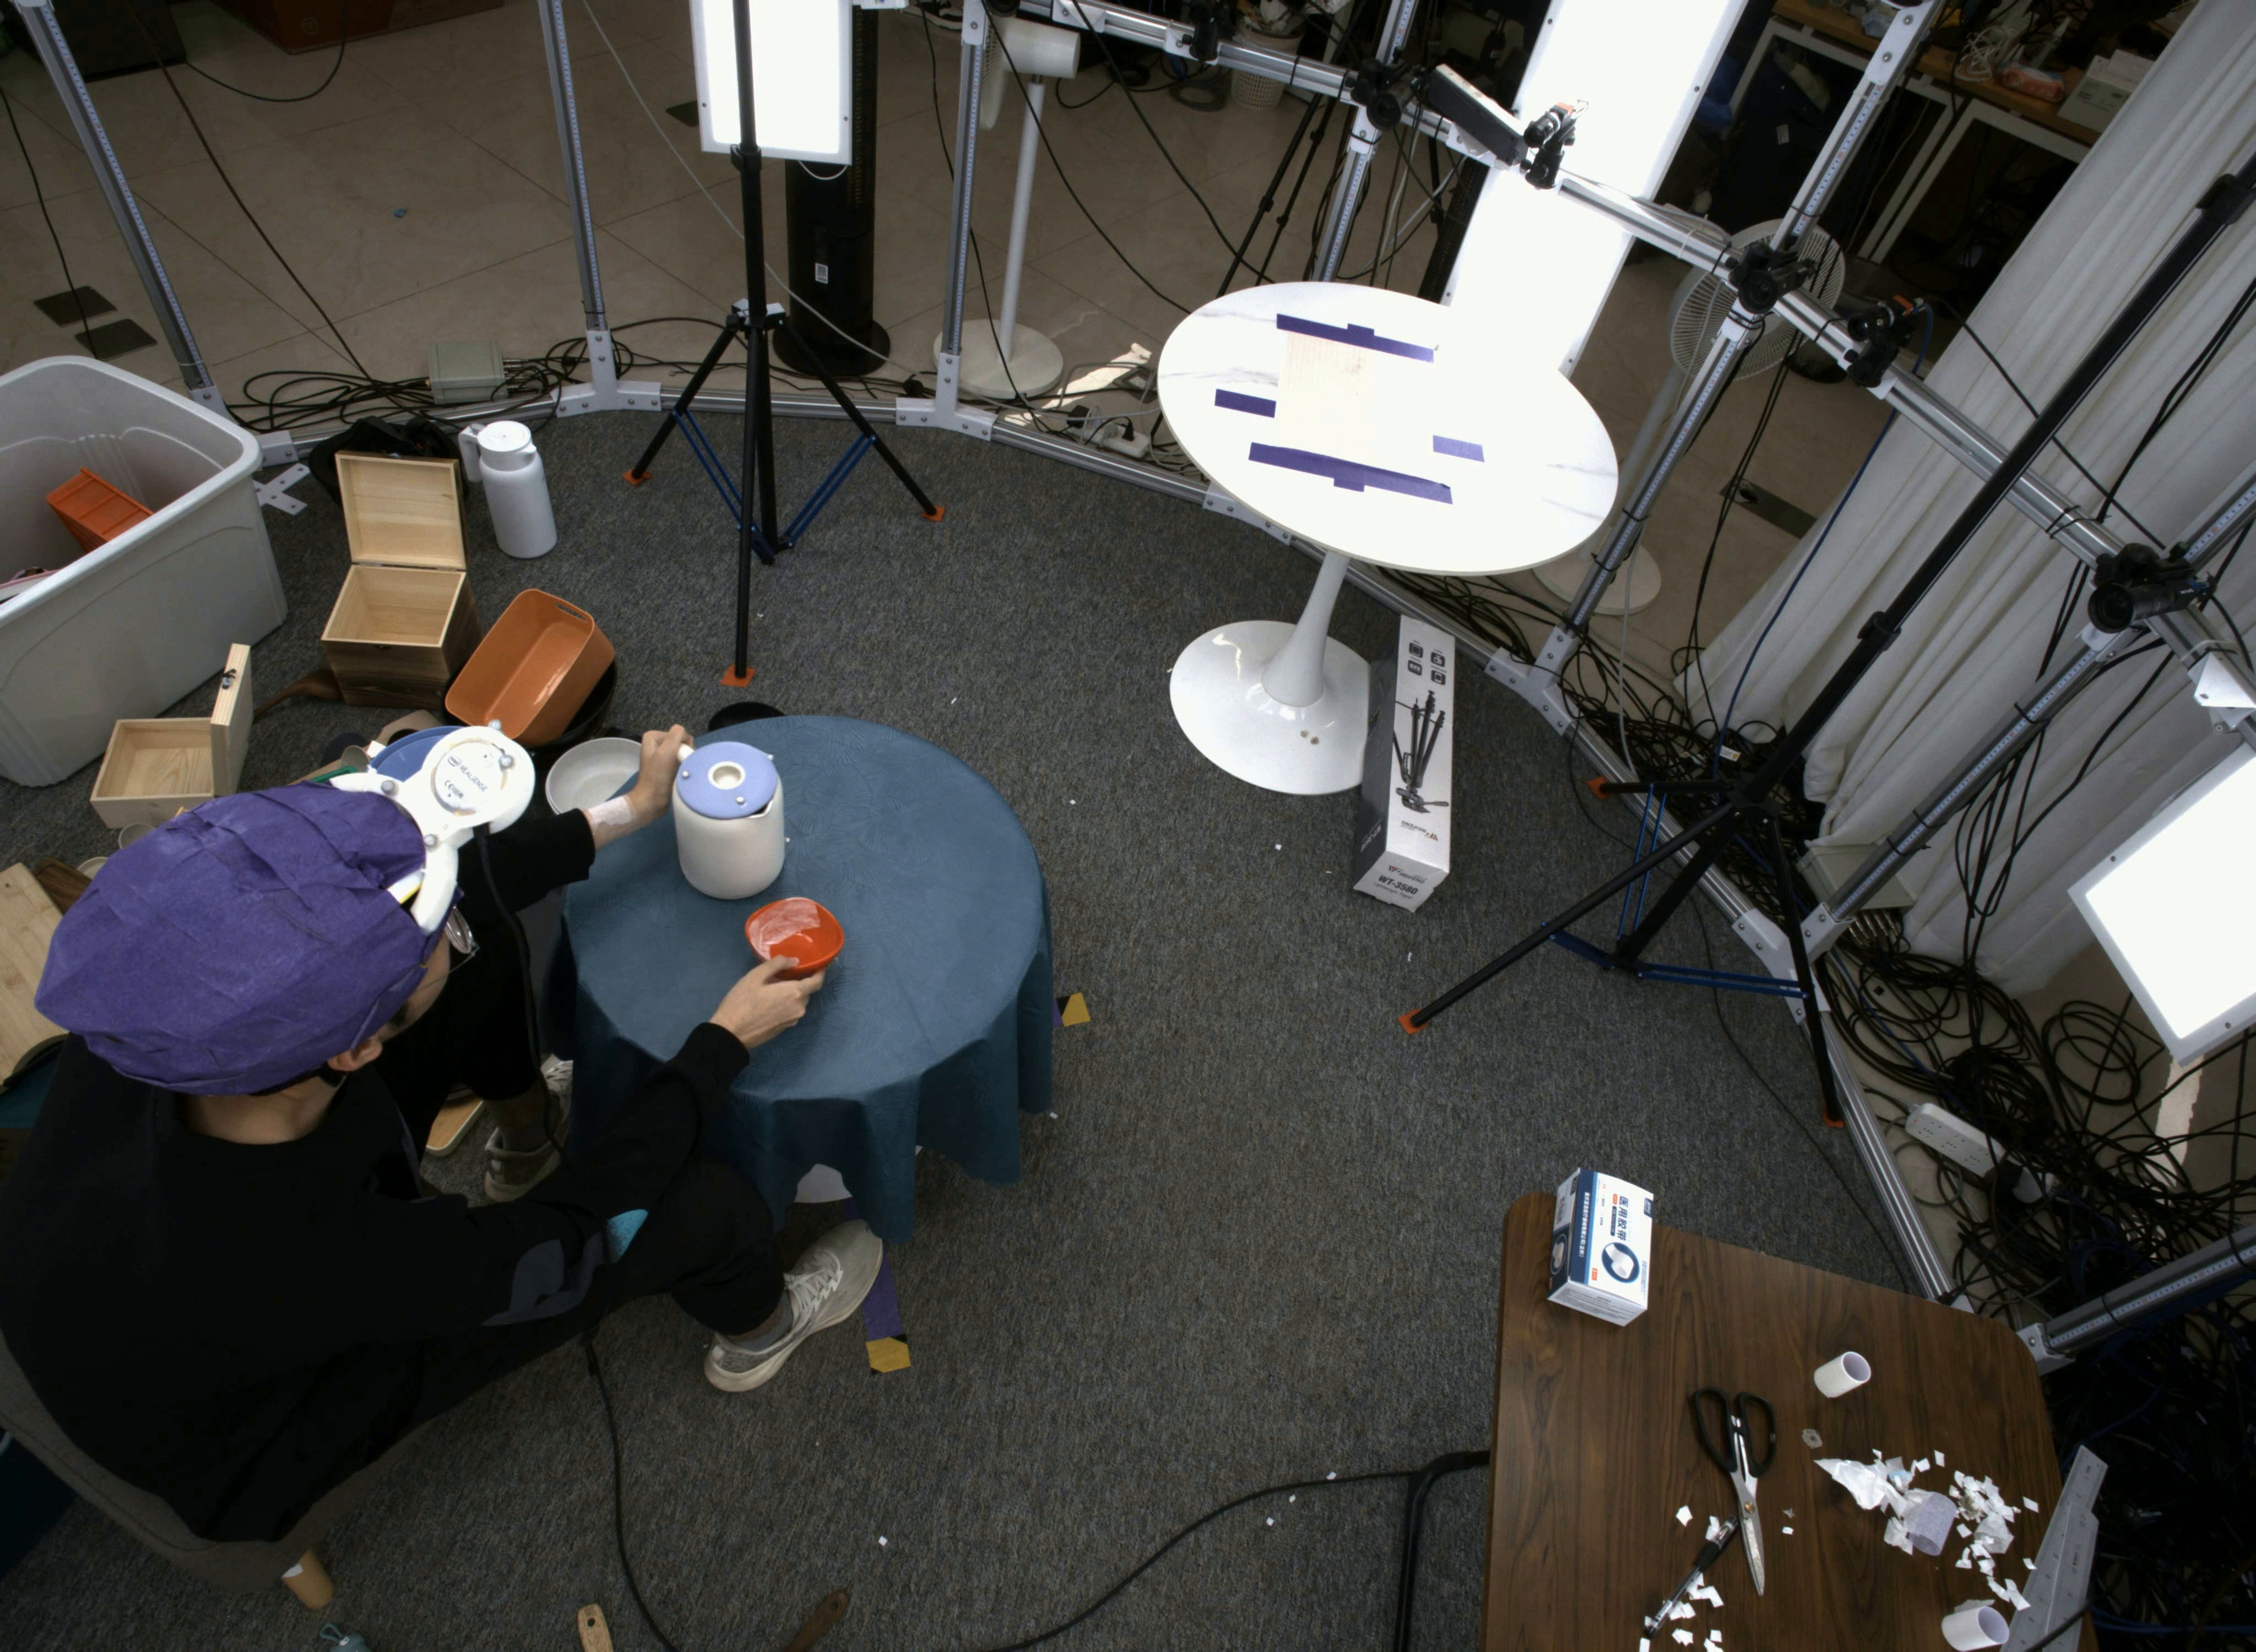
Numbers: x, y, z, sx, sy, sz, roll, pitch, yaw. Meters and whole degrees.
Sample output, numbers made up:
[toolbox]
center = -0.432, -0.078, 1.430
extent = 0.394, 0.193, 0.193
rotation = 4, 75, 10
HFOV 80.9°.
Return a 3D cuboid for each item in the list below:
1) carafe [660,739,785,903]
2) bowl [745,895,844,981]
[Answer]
[carafe]
center = -0.514, -0.021, 1.610
extent = 0.187, 0.186, 0.132
rotation = 34, 51, 15
[bowl]
center = -0.409, 0.142, 1.581
extent = 0.119, 0.052, 0.116
rotation = 16, 40, -12
